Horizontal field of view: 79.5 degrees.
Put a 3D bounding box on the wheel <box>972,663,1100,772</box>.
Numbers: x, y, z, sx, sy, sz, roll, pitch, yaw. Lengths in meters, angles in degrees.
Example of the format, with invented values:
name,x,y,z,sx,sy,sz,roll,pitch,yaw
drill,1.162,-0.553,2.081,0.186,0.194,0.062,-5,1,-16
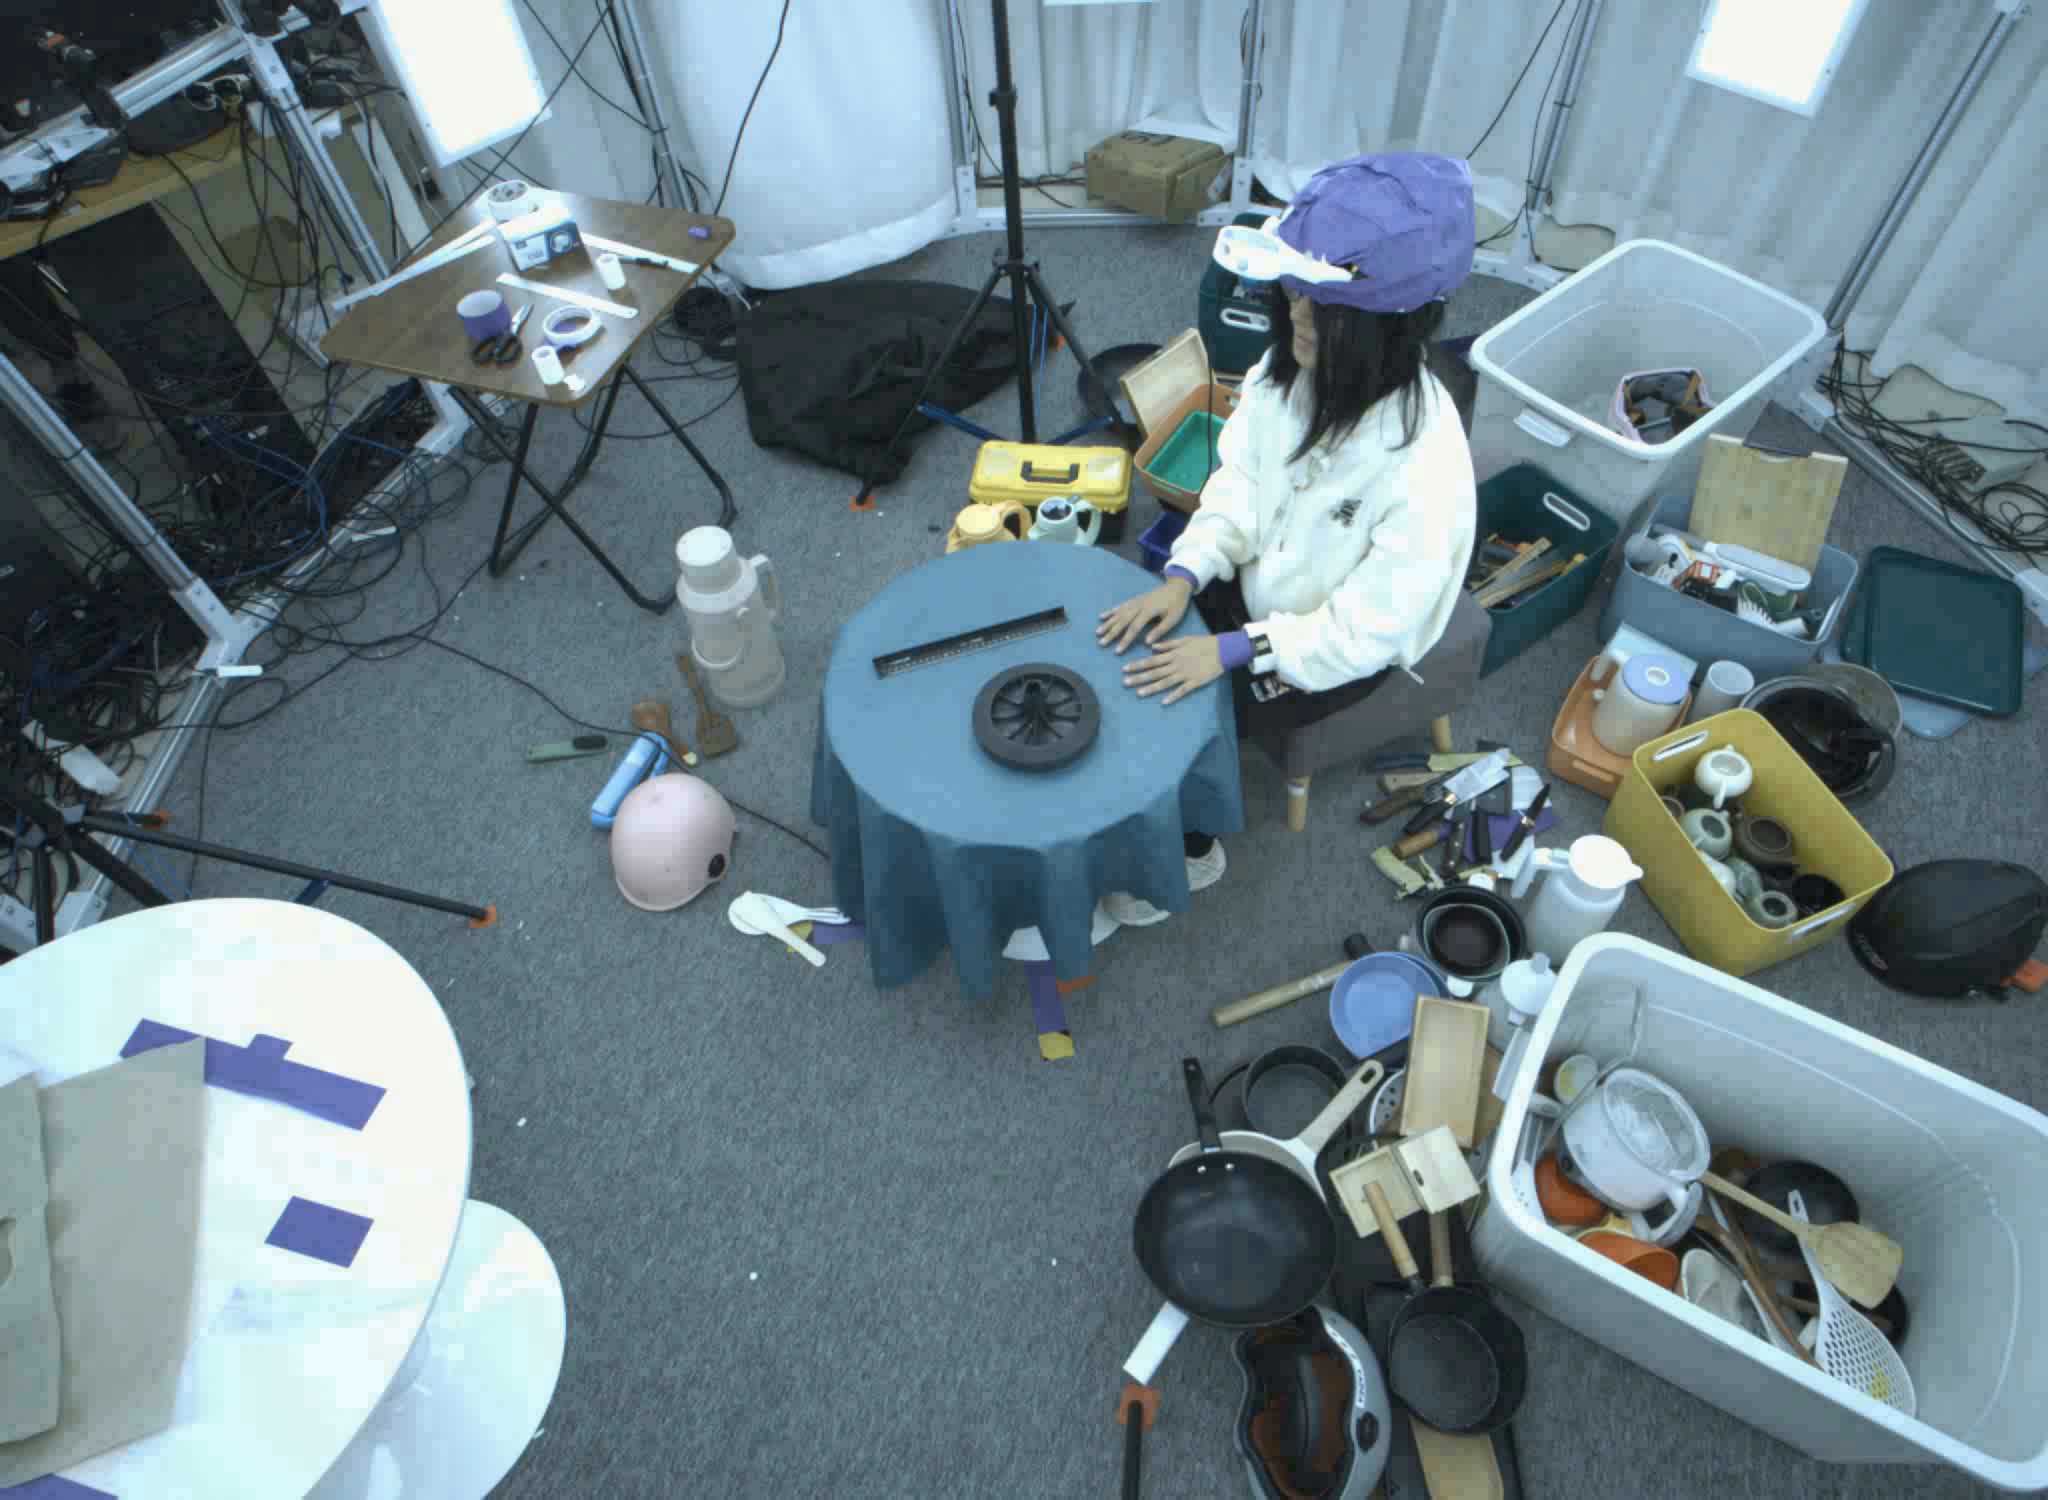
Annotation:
name,x,y,z,sx,sy,sz,roll,pitch,yaw
wheel,0.016,-0.062,1.785,0.187,0.080,0.188,-2,55,1

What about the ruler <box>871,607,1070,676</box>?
name,x,y,z,sx,sy,sz,roll,pitch,yaw
ruler,-0.083,-0.170,1.901,0.314,0.017,0.038,-15,59,-9
